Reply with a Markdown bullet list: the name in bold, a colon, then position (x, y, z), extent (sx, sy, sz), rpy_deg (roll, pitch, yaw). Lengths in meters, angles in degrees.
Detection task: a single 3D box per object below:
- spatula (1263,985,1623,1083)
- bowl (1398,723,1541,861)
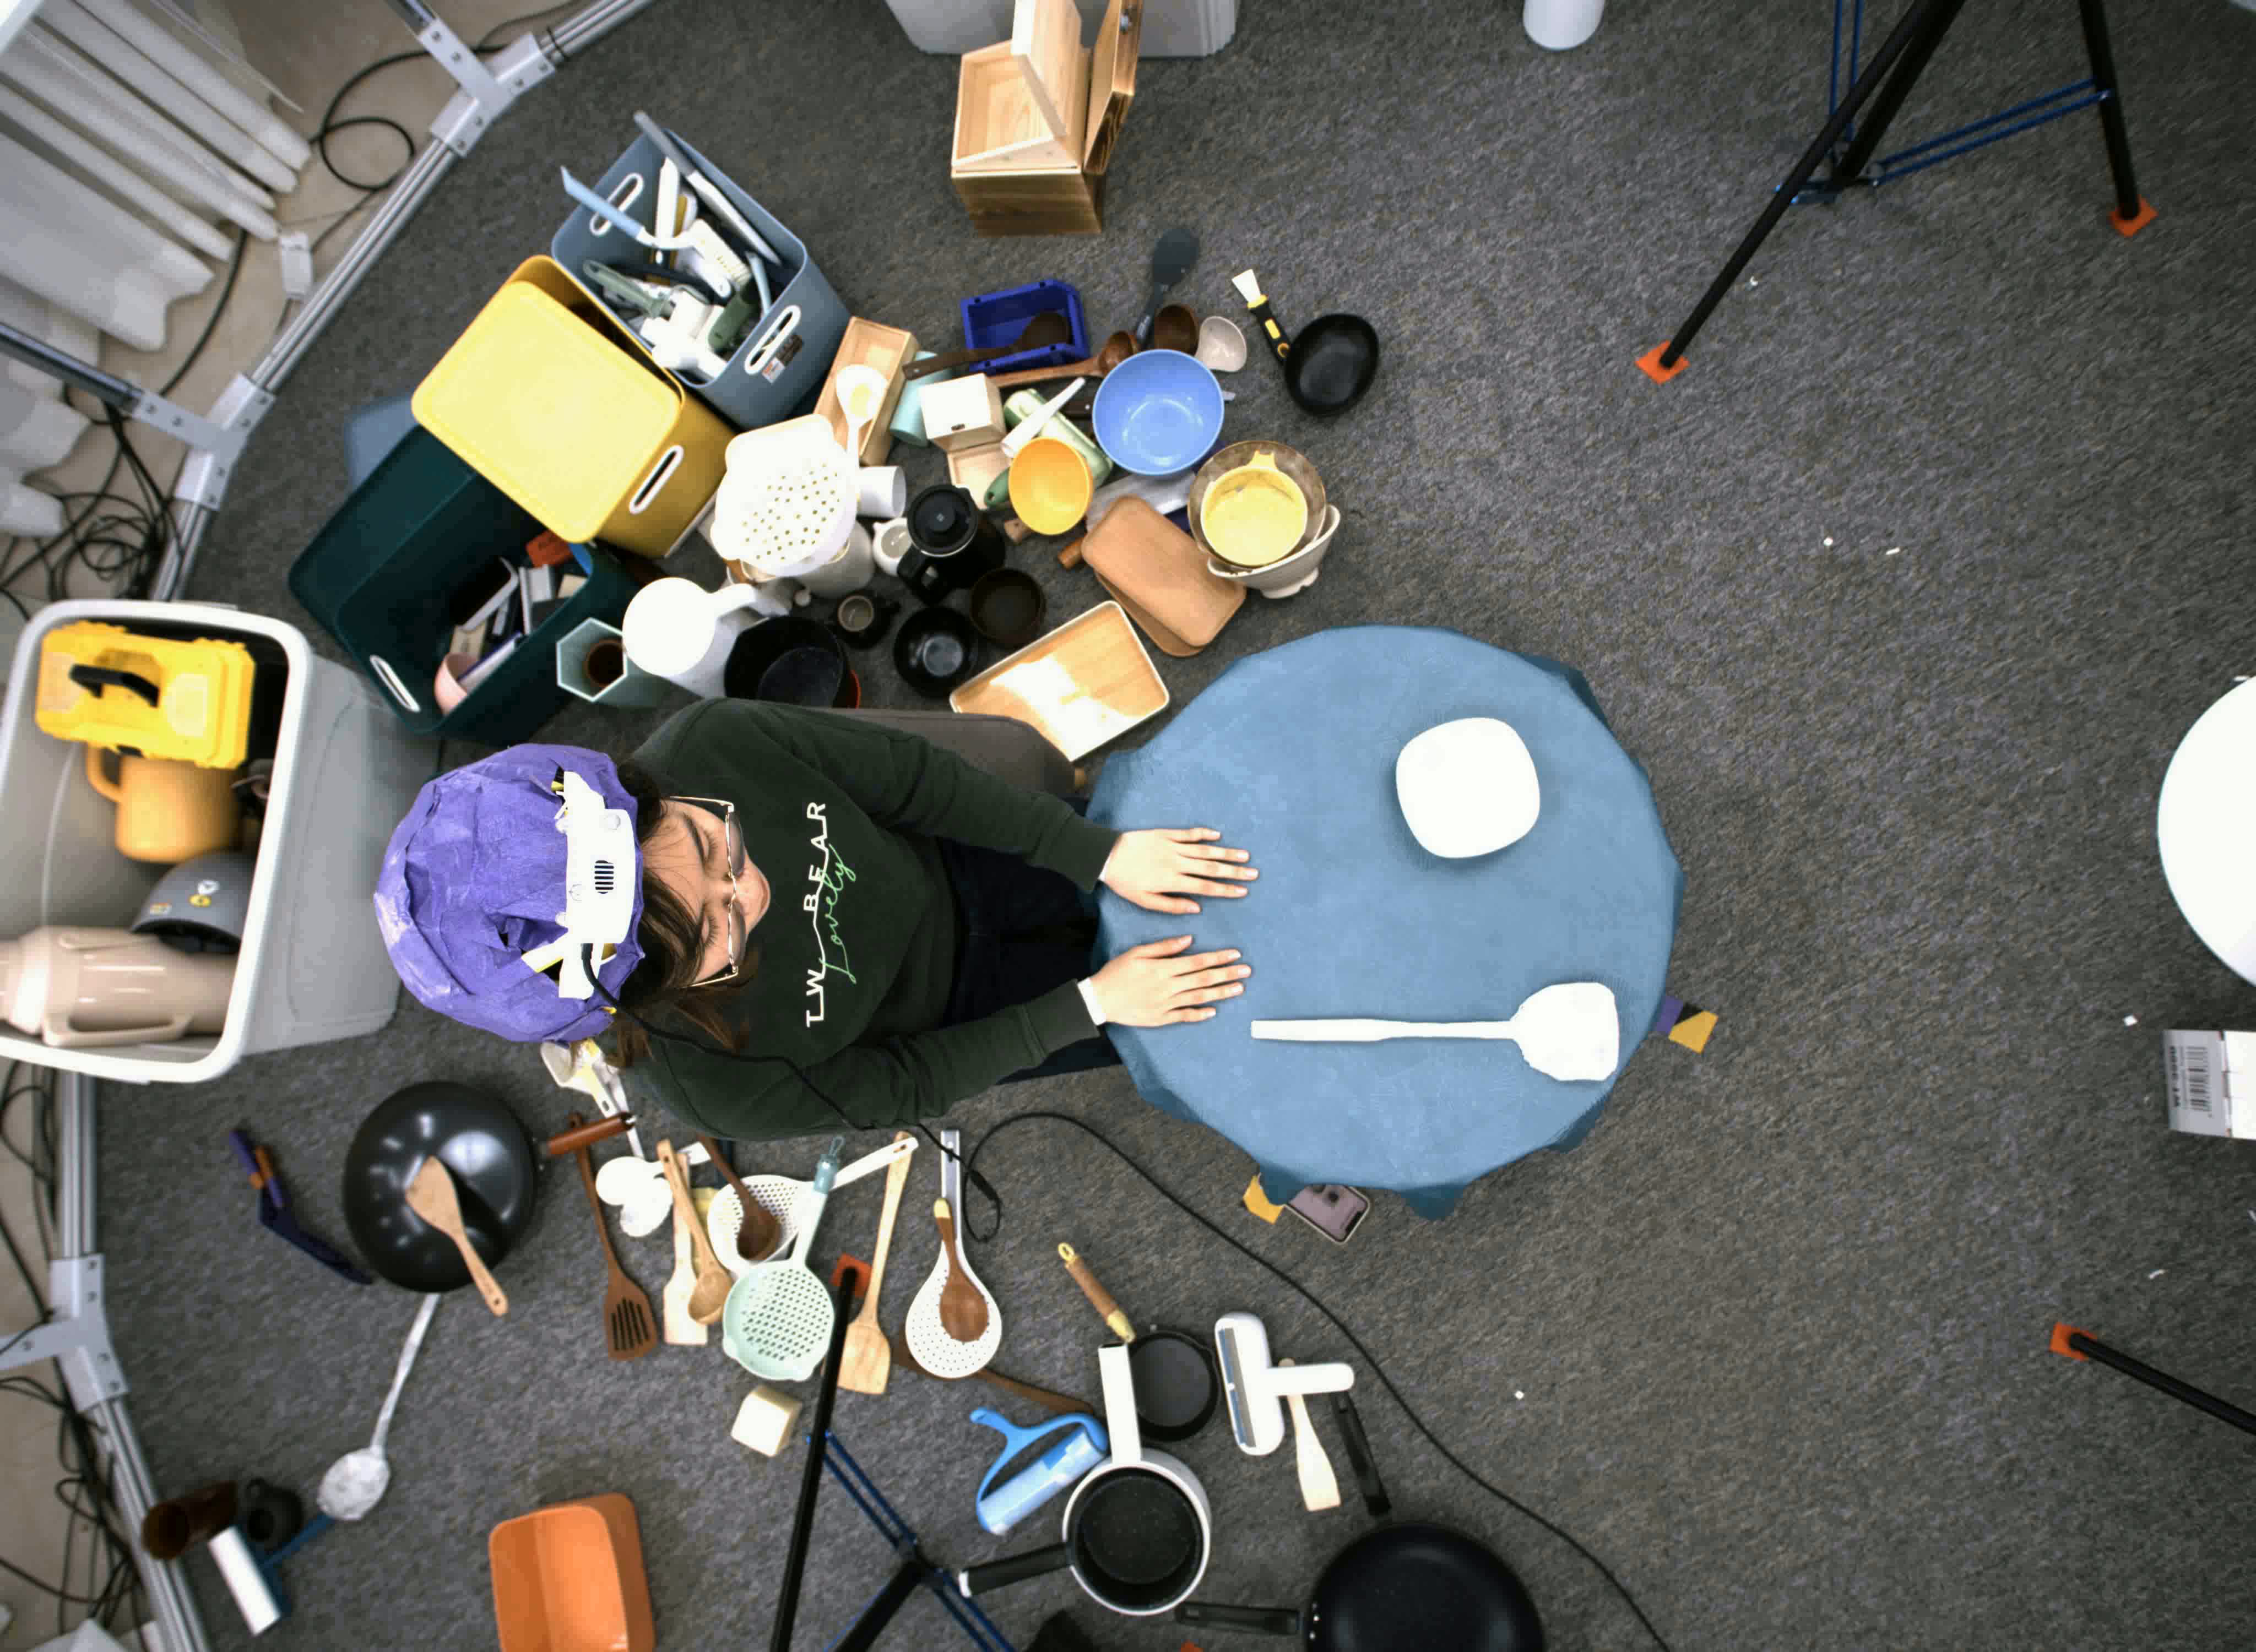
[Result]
- **spatula**: position (0.319, 0.207, 1.427), extent (0.366, 0.045, 0.098), rpy_deg (0, 88, 10)
- **bowl**: position (0.352, -0.033, 1.429), extent (0.152, 0.059, 0.150), rpy_deg (-2, 83, 10)
